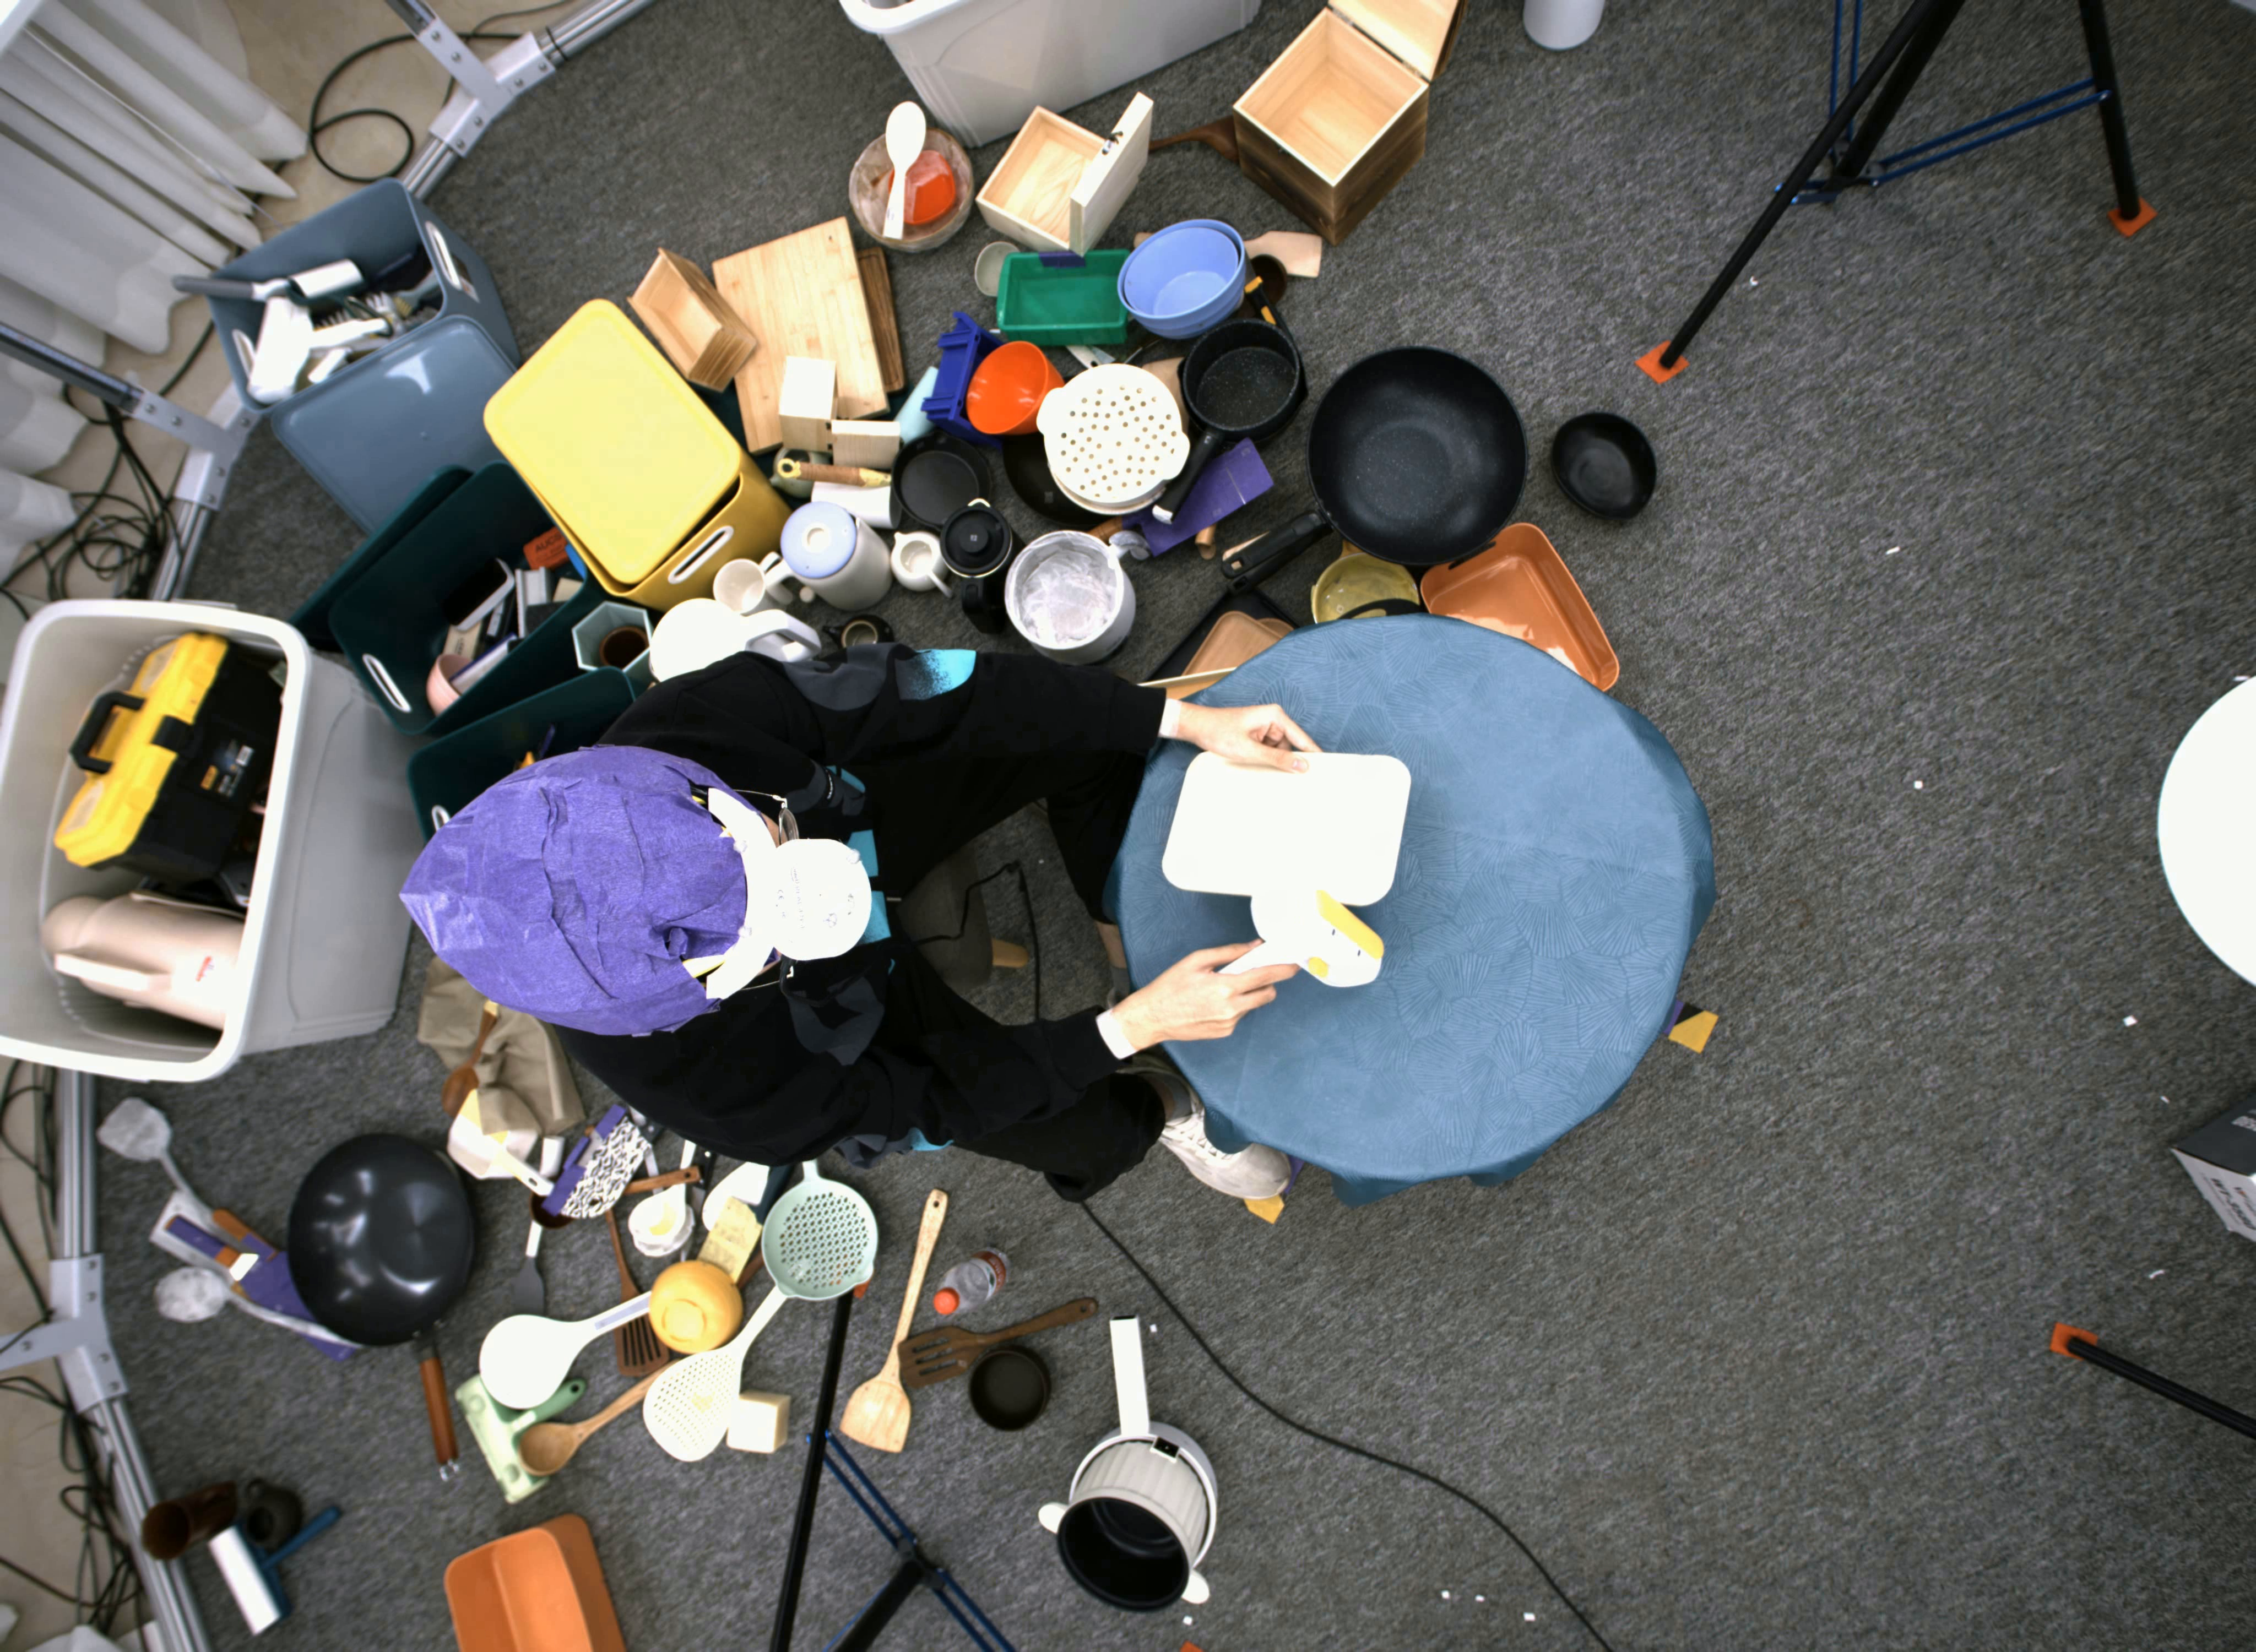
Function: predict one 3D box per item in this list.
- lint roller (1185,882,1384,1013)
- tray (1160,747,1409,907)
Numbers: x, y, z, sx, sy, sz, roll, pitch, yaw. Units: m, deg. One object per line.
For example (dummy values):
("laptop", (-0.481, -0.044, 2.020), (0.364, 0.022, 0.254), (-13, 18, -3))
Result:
("lint roller", (0.136, 0.129, 1.363), (0.195, 0.194, 0.073), (-23, 60, 31))
("tray", (0.159, -0.001, 1.401), (0.241, 0.018, 0.168), (5, 65, 23))
